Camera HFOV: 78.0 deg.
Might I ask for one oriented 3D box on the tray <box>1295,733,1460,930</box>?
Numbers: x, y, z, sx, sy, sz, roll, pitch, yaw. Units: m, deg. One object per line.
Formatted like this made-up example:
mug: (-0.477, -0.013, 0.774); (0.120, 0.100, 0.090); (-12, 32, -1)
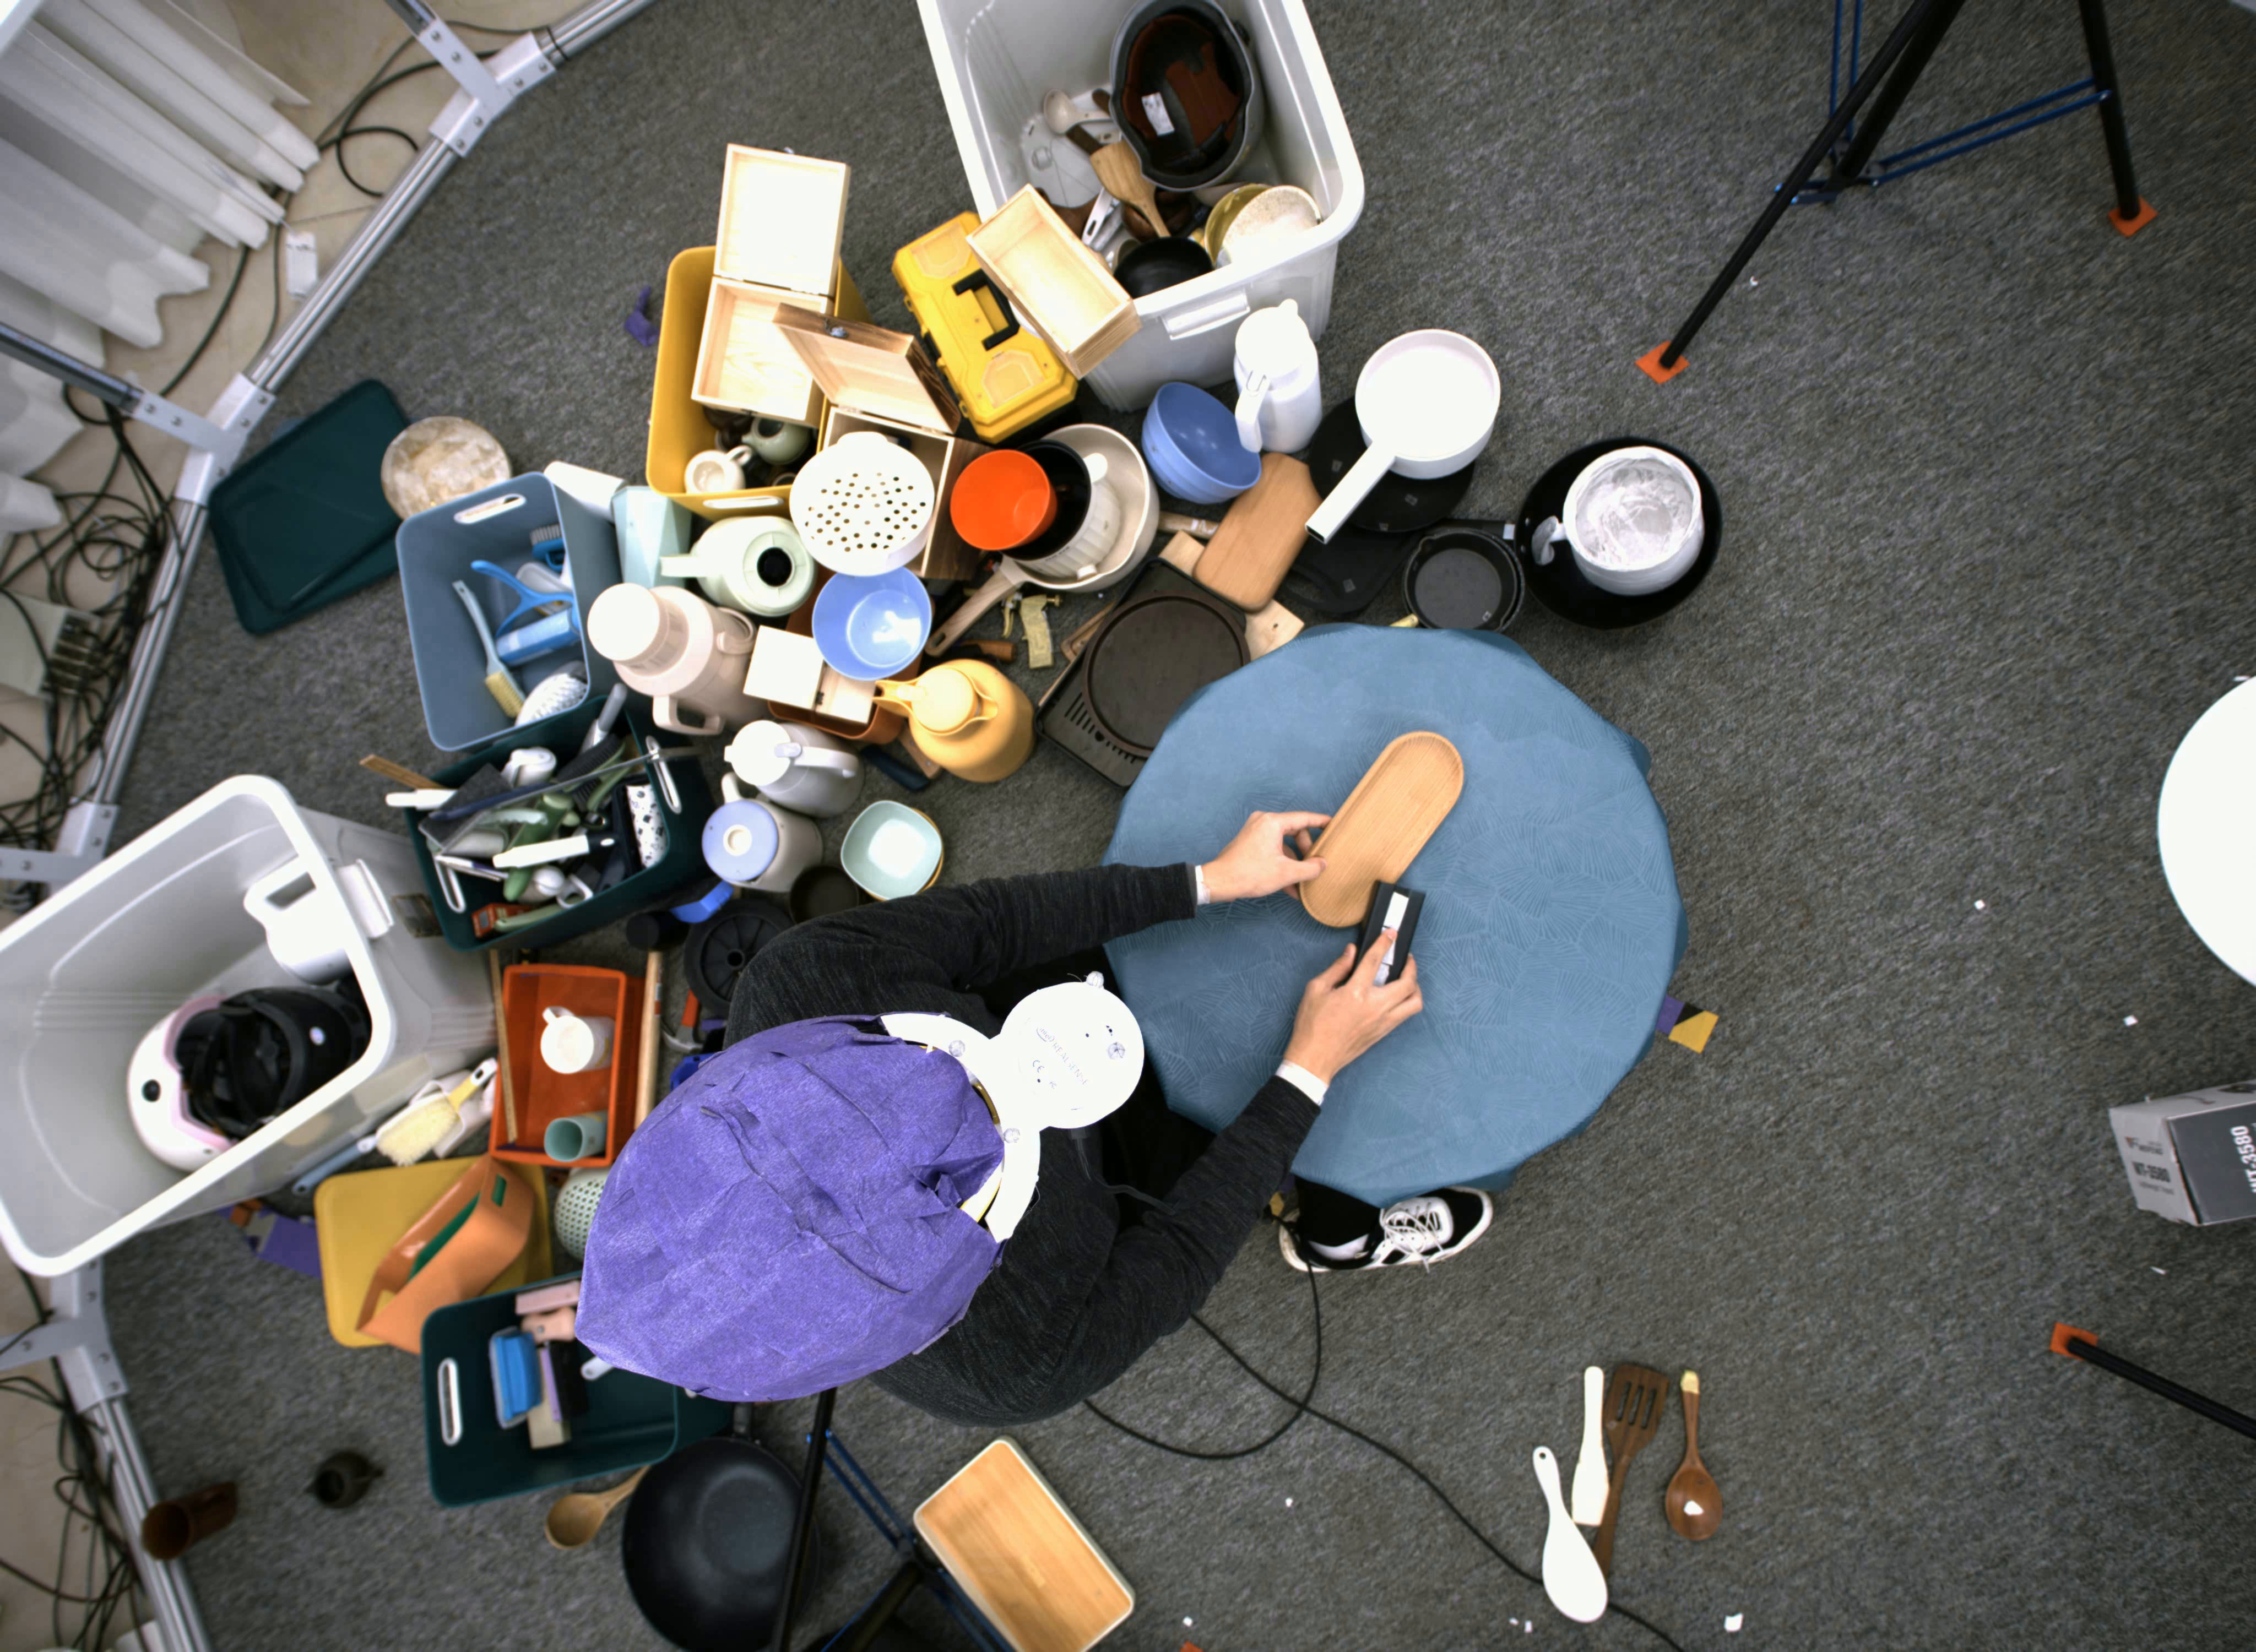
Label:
tray: (0.259, 0.005, 1.436); (0.102, 0.020, 0.232); (35, 95, -18)

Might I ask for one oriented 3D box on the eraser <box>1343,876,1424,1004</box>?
eraser: (0.263, 0.117, 1.428); (0.053, 0.030, 0.125); (17, 85, 4)
